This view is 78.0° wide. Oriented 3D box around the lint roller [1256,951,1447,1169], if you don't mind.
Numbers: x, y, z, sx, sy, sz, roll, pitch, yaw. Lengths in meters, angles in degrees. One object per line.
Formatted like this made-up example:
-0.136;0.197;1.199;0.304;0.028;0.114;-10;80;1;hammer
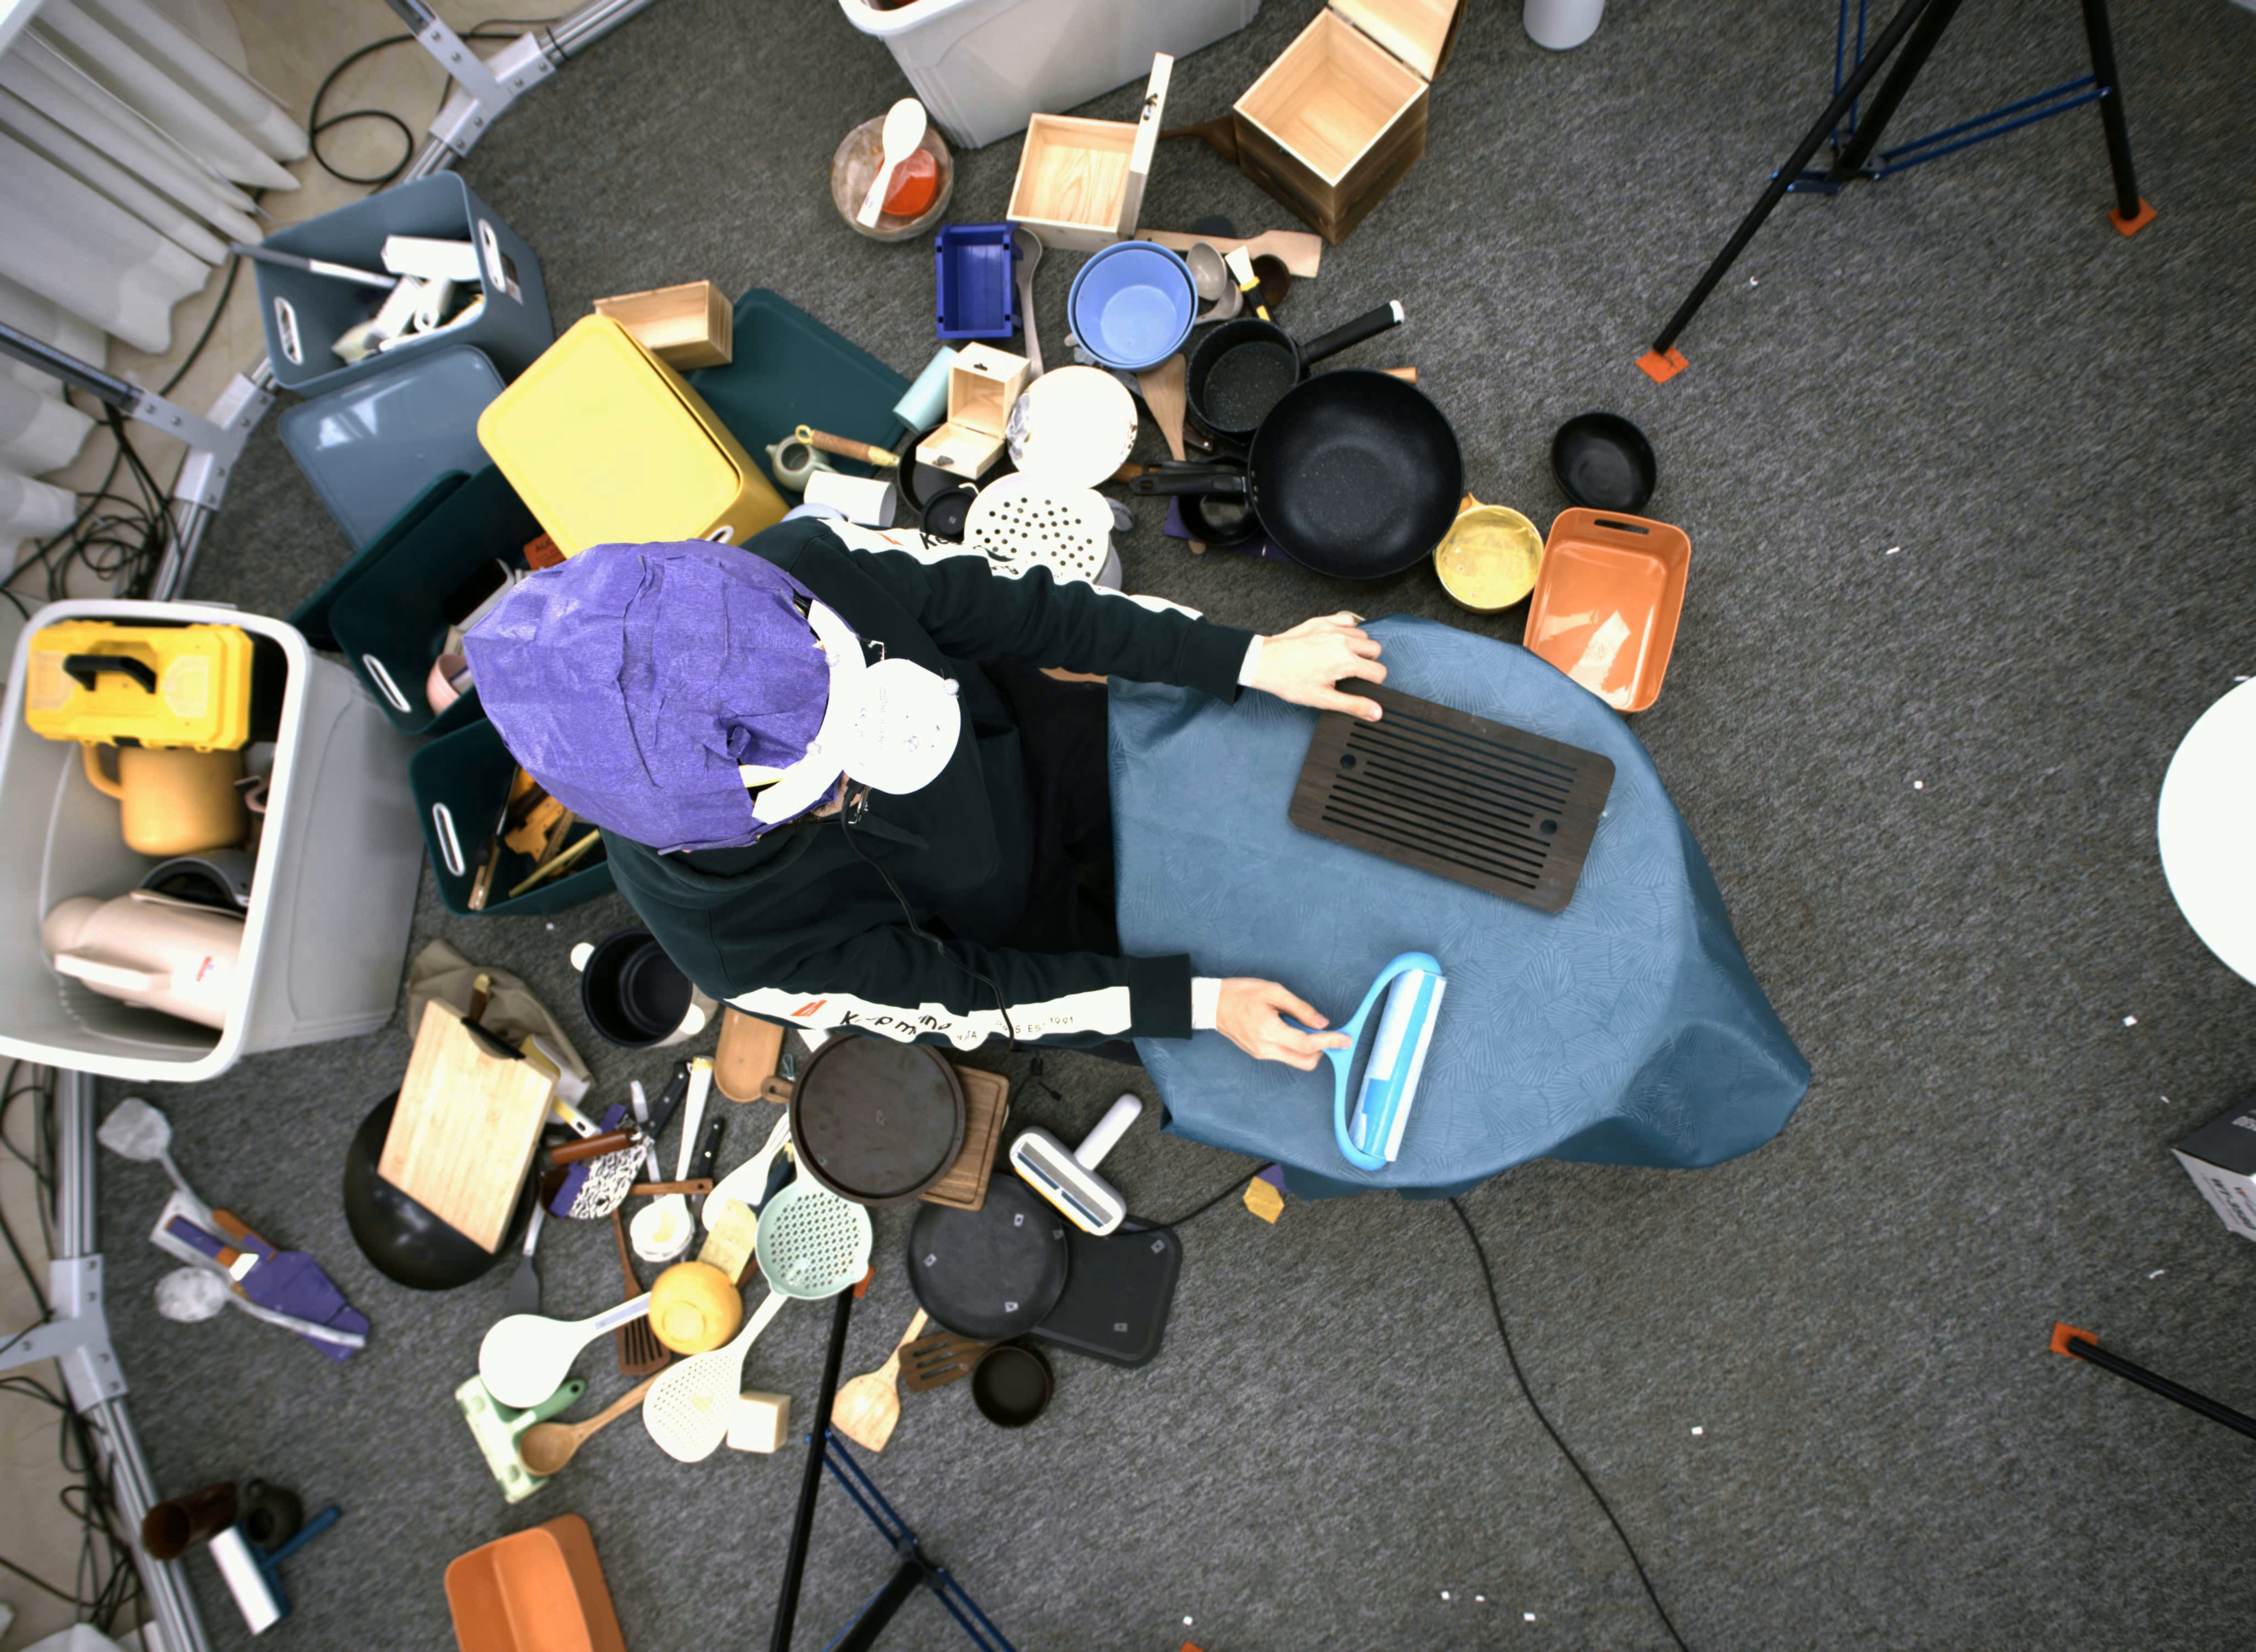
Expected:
0.218;0.225;1.425;0.180;0.068;0.229;13;92;7;lint roller

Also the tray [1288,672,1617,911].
0.334;-0.040;1.428;0.306;0.018;0.171;19;100;11;tray
